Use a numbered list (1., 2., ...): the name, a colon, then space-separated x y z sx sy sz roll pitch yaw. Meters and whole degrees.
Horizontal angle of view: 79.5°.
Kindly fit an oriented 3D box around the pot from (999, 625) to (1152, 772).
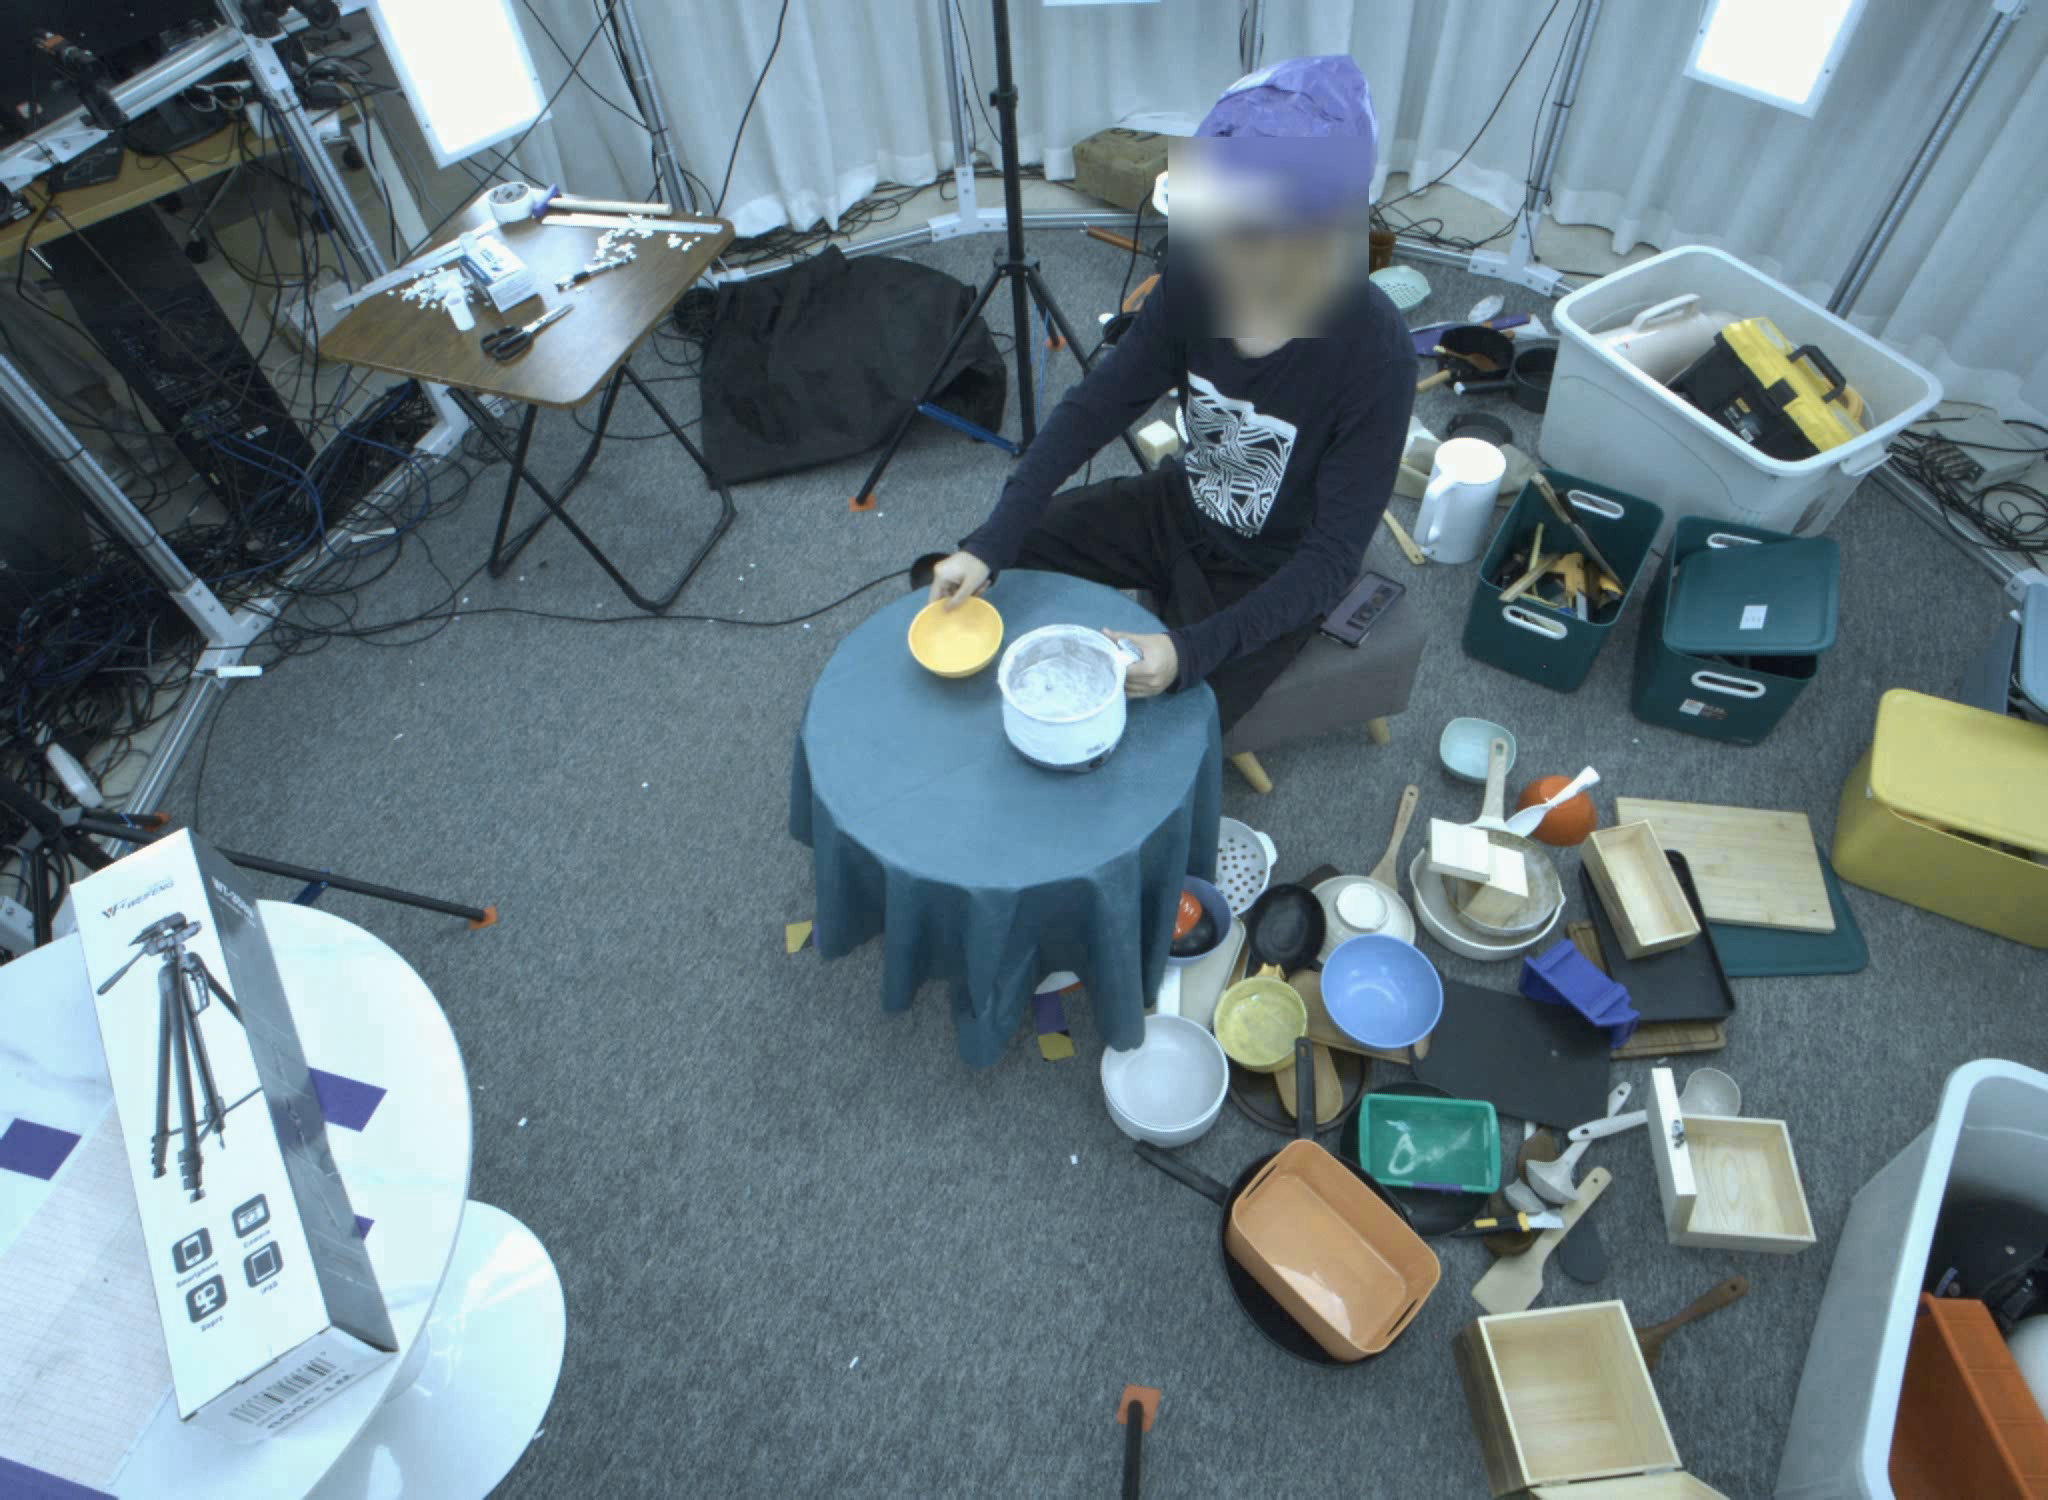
1. pot: 0.080 -0.083 1.770 0.236 0.138 0.175 -26 58 -18

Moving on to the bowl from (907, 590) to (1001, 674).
1. bowl: -0.101 -0.169 1.869 0.144 0.061 0.144 -3 62 8
